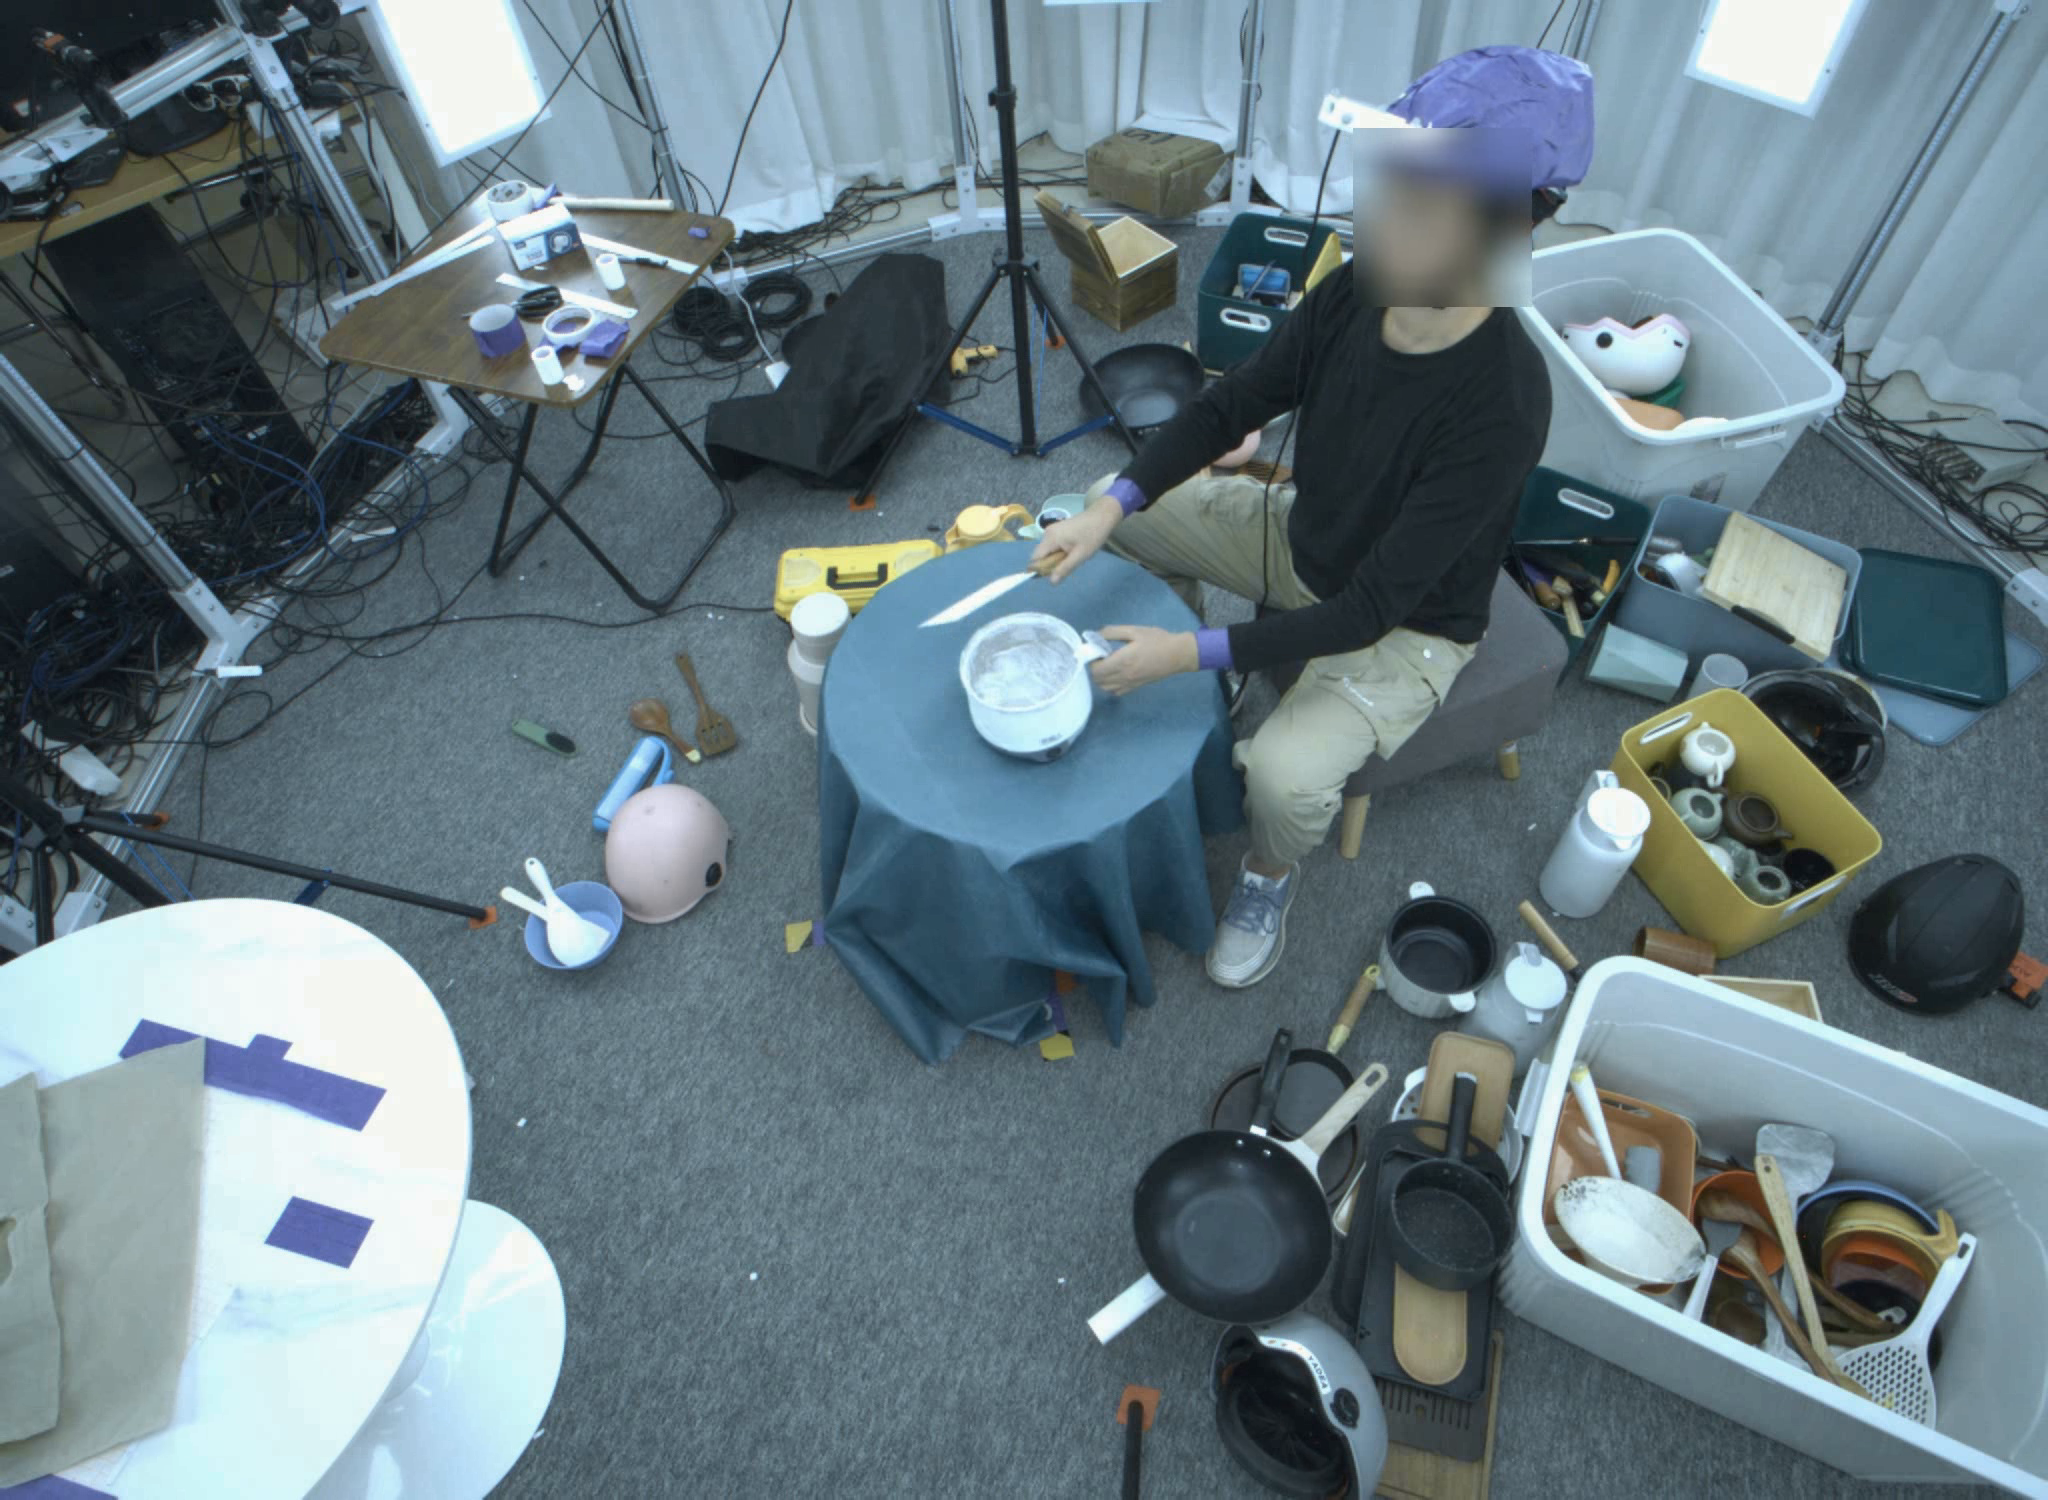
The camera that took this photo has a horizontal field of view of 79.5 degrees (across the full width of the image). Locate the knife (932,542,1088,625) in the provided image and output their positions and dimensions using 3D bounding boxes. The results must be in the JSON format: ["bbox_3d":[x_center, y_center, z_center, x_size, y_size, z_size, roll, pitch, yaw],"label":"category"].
[{"bbox_3d":[-0.022,-0.245,1.806,0.091,0.021,0.309,-2,25,43],"label":"knife"}]

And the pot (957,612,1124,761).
[{"bbox_3d":[0.029,-0.100,1.759,0.234,0.138,0.175,-23,57,-7],"label":"pot"}]
